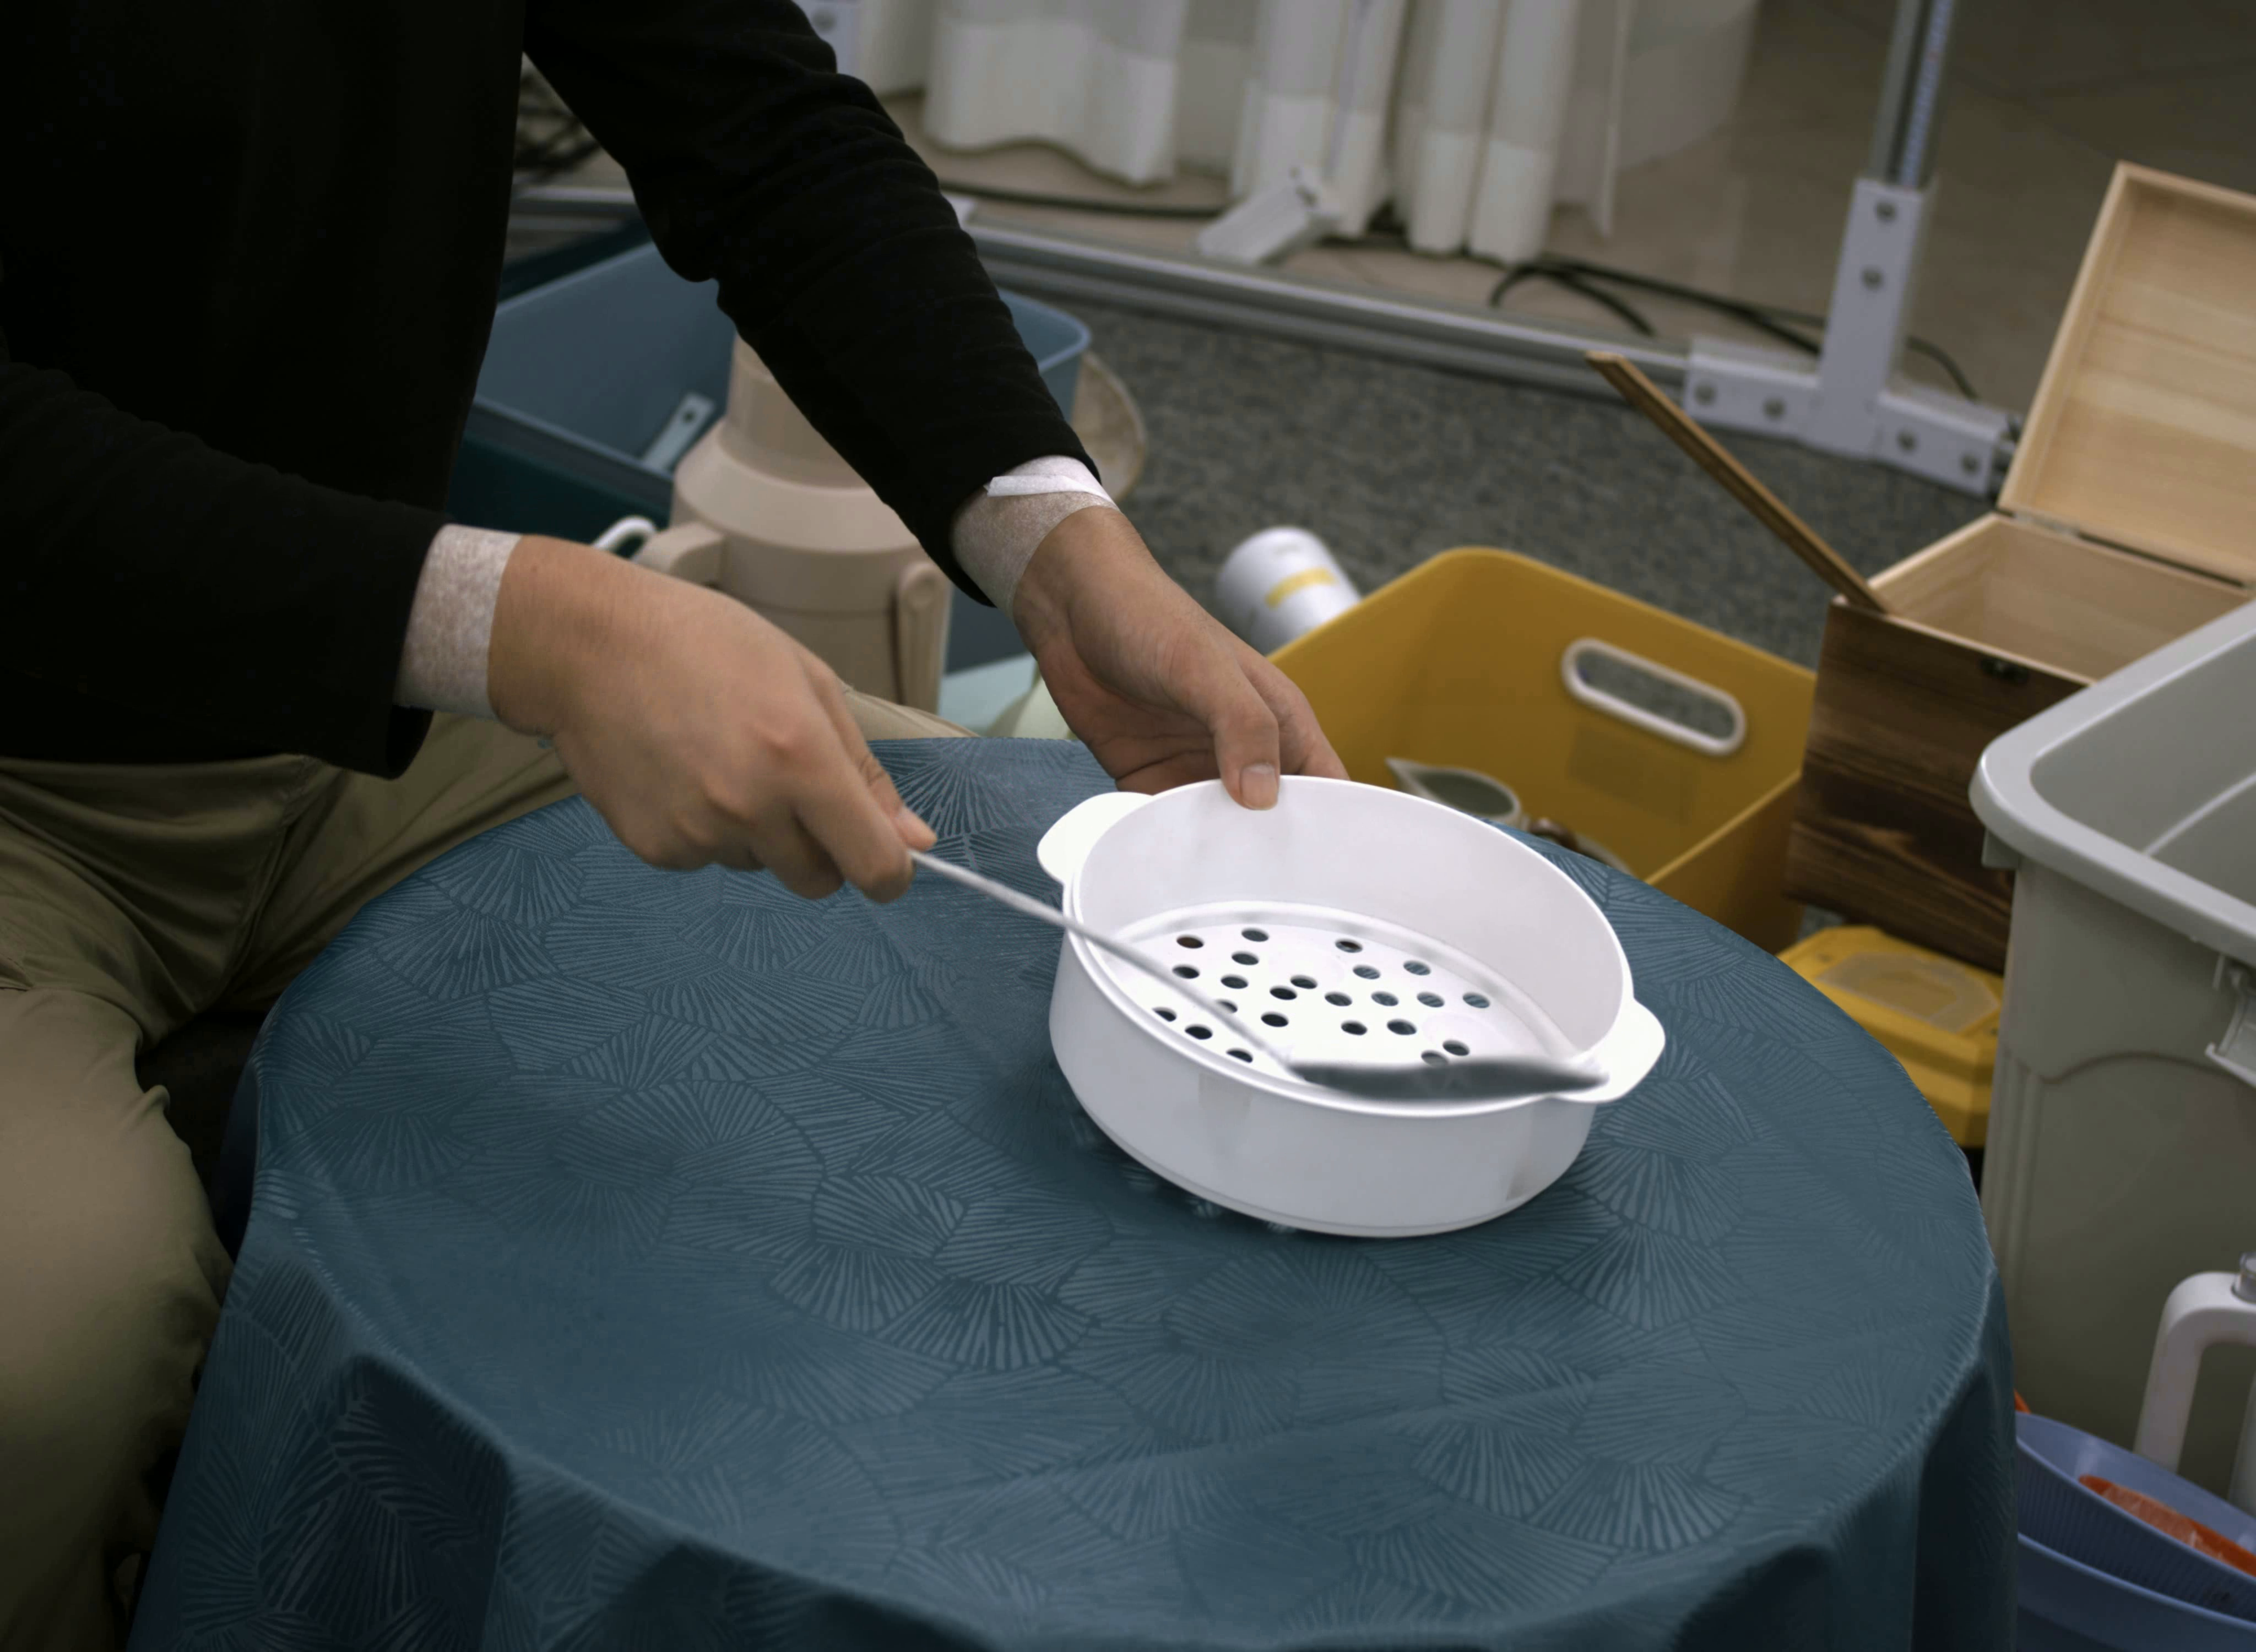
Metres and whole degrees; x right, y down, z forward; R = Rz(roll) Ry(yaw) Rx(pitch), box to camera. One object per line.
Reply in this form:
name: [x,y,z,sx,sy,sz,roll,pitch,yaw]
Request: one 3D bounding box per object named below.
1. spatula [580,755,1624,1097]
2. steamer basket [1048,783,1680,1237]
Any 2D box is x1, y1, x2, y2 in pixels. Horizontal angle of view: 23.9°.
spatula: [-0.018,0.026,1.695,0.366,0.045,0.098,23,3,19]
steamer basket: [0.076,0.064,1.845,0.231,0.069,0.202,23,33,20]
